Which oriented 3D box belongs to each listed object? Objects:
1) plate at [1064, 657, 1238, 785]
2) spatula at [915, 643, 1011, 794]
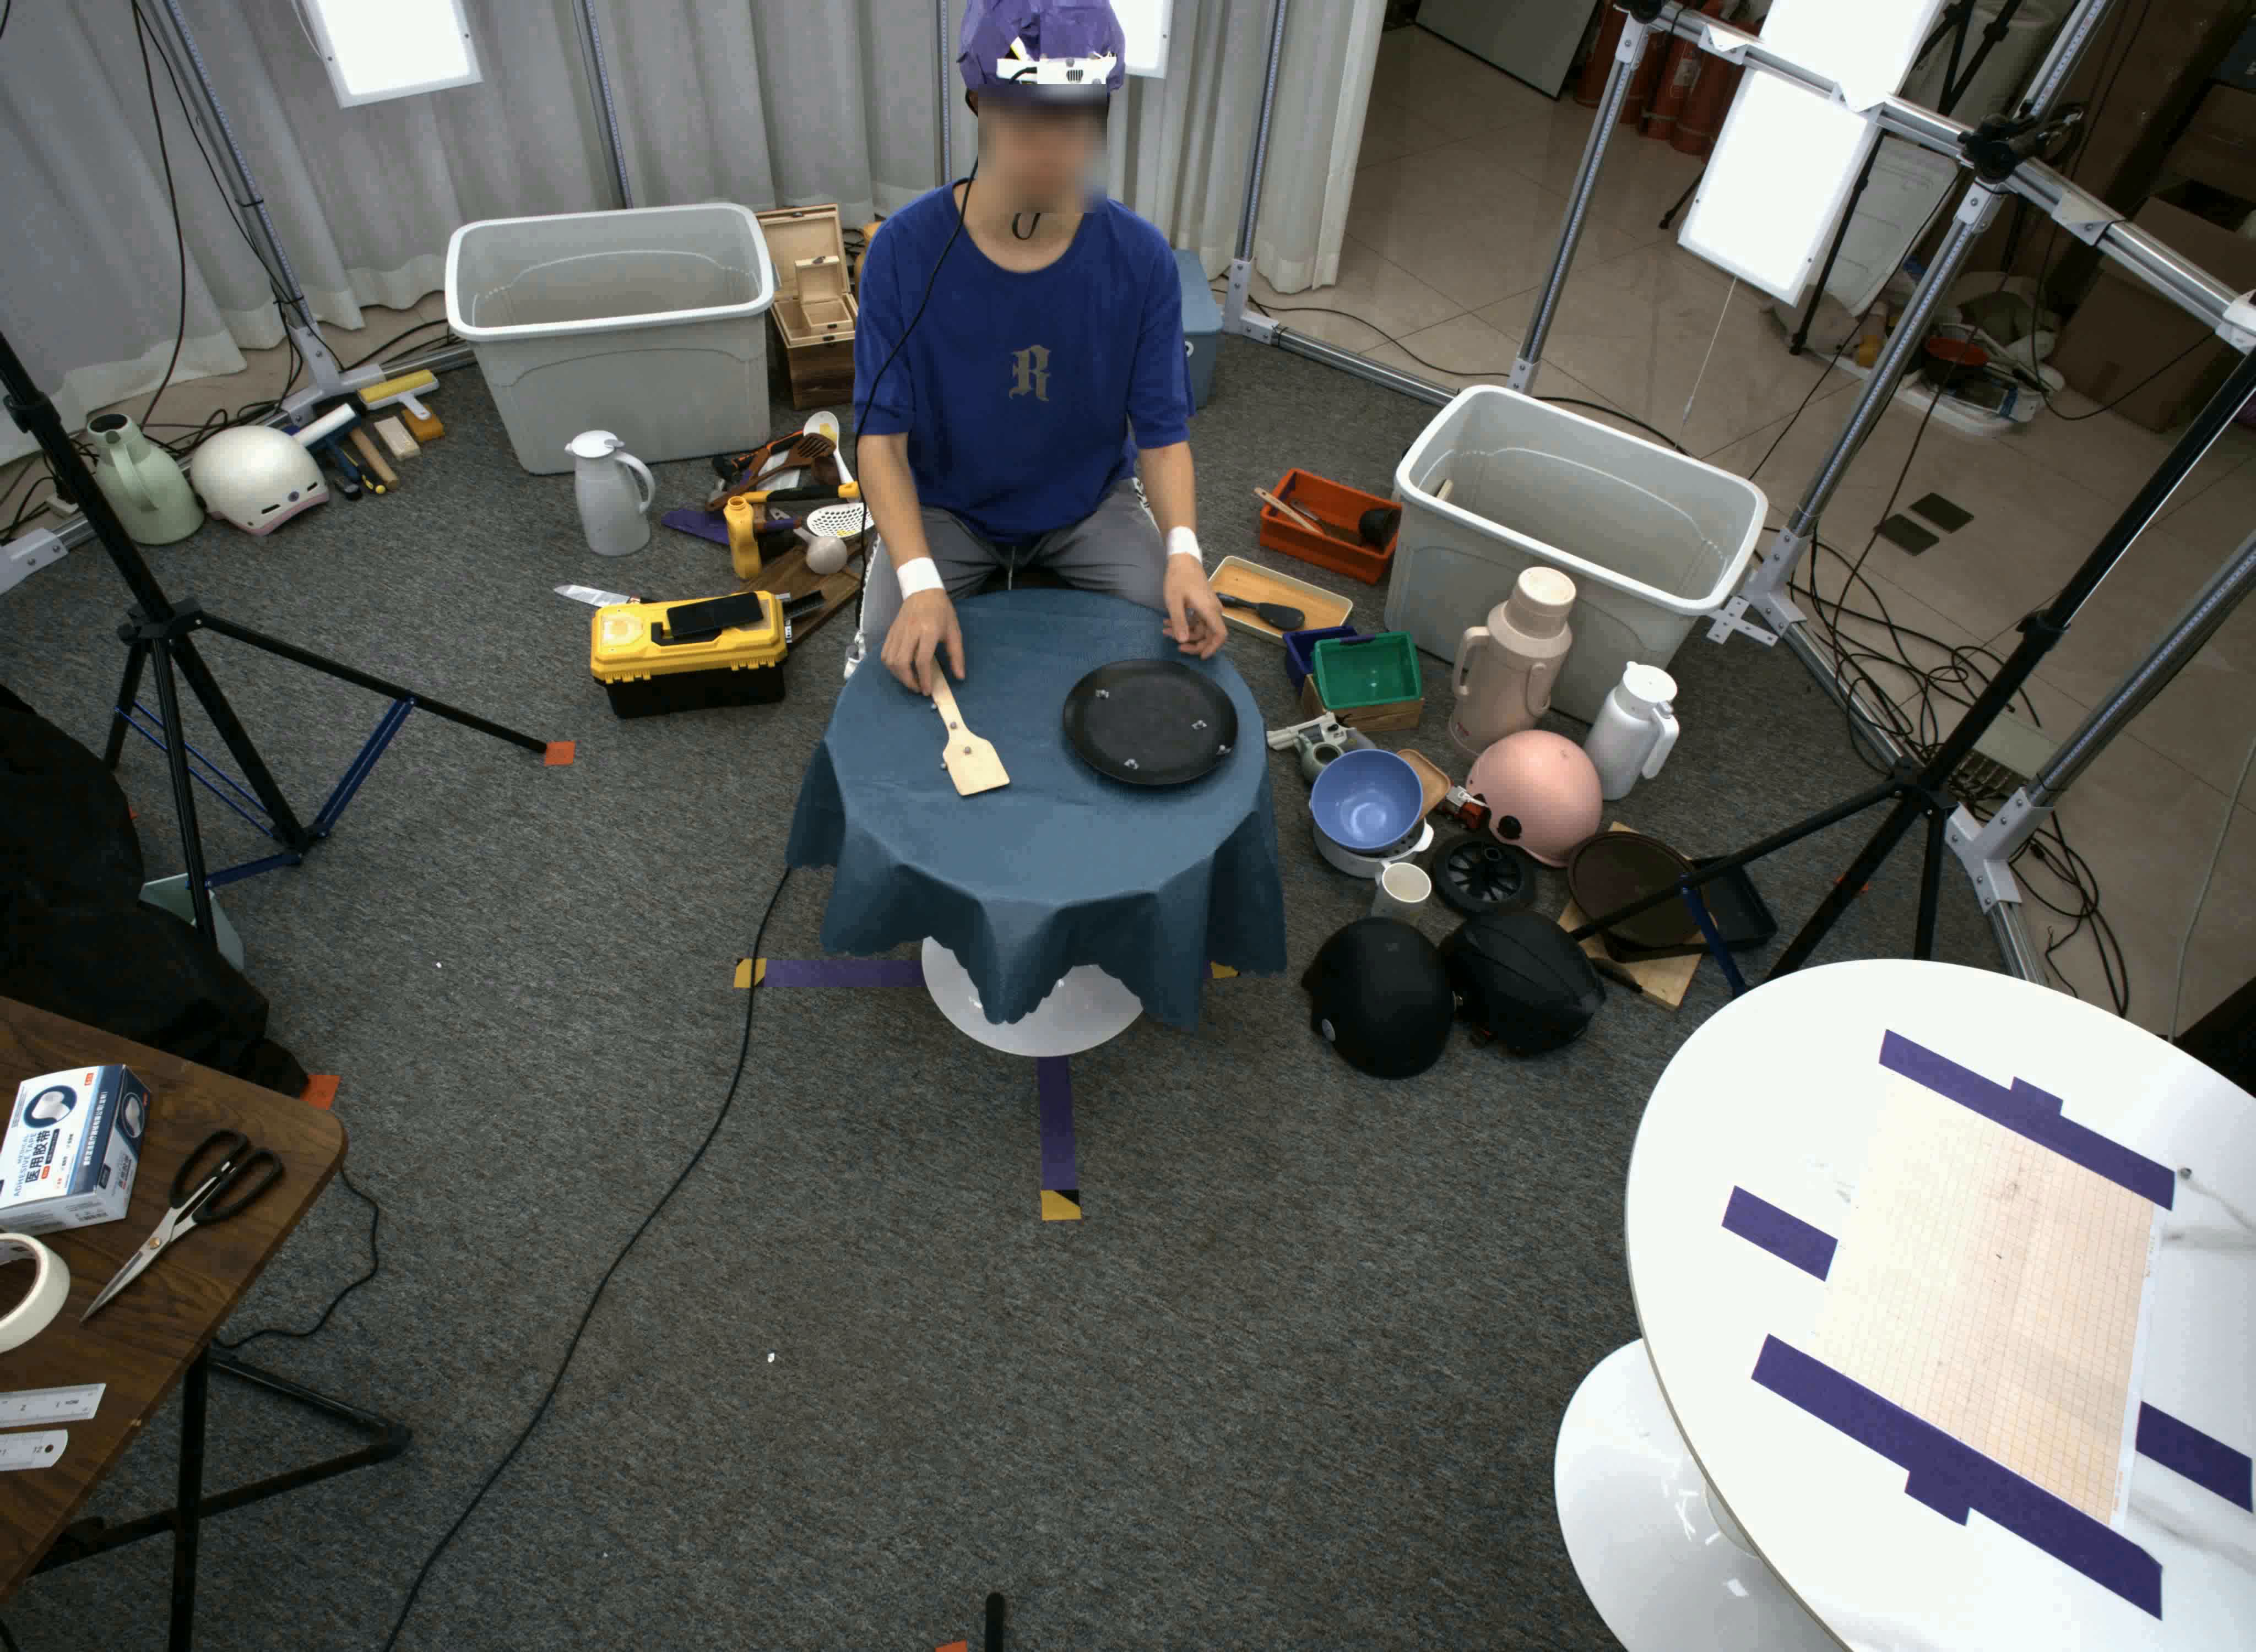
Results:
[{"bbox_3d":[0.031,-0.144,1.784,0.244,0.023,0.250,2,50,-2],"label":"plate"},{"bbox_3d":[-0.243,-0.156,1.786,0.072,0.010,0.300,-16,53,-15],"label":"spatula"}]
